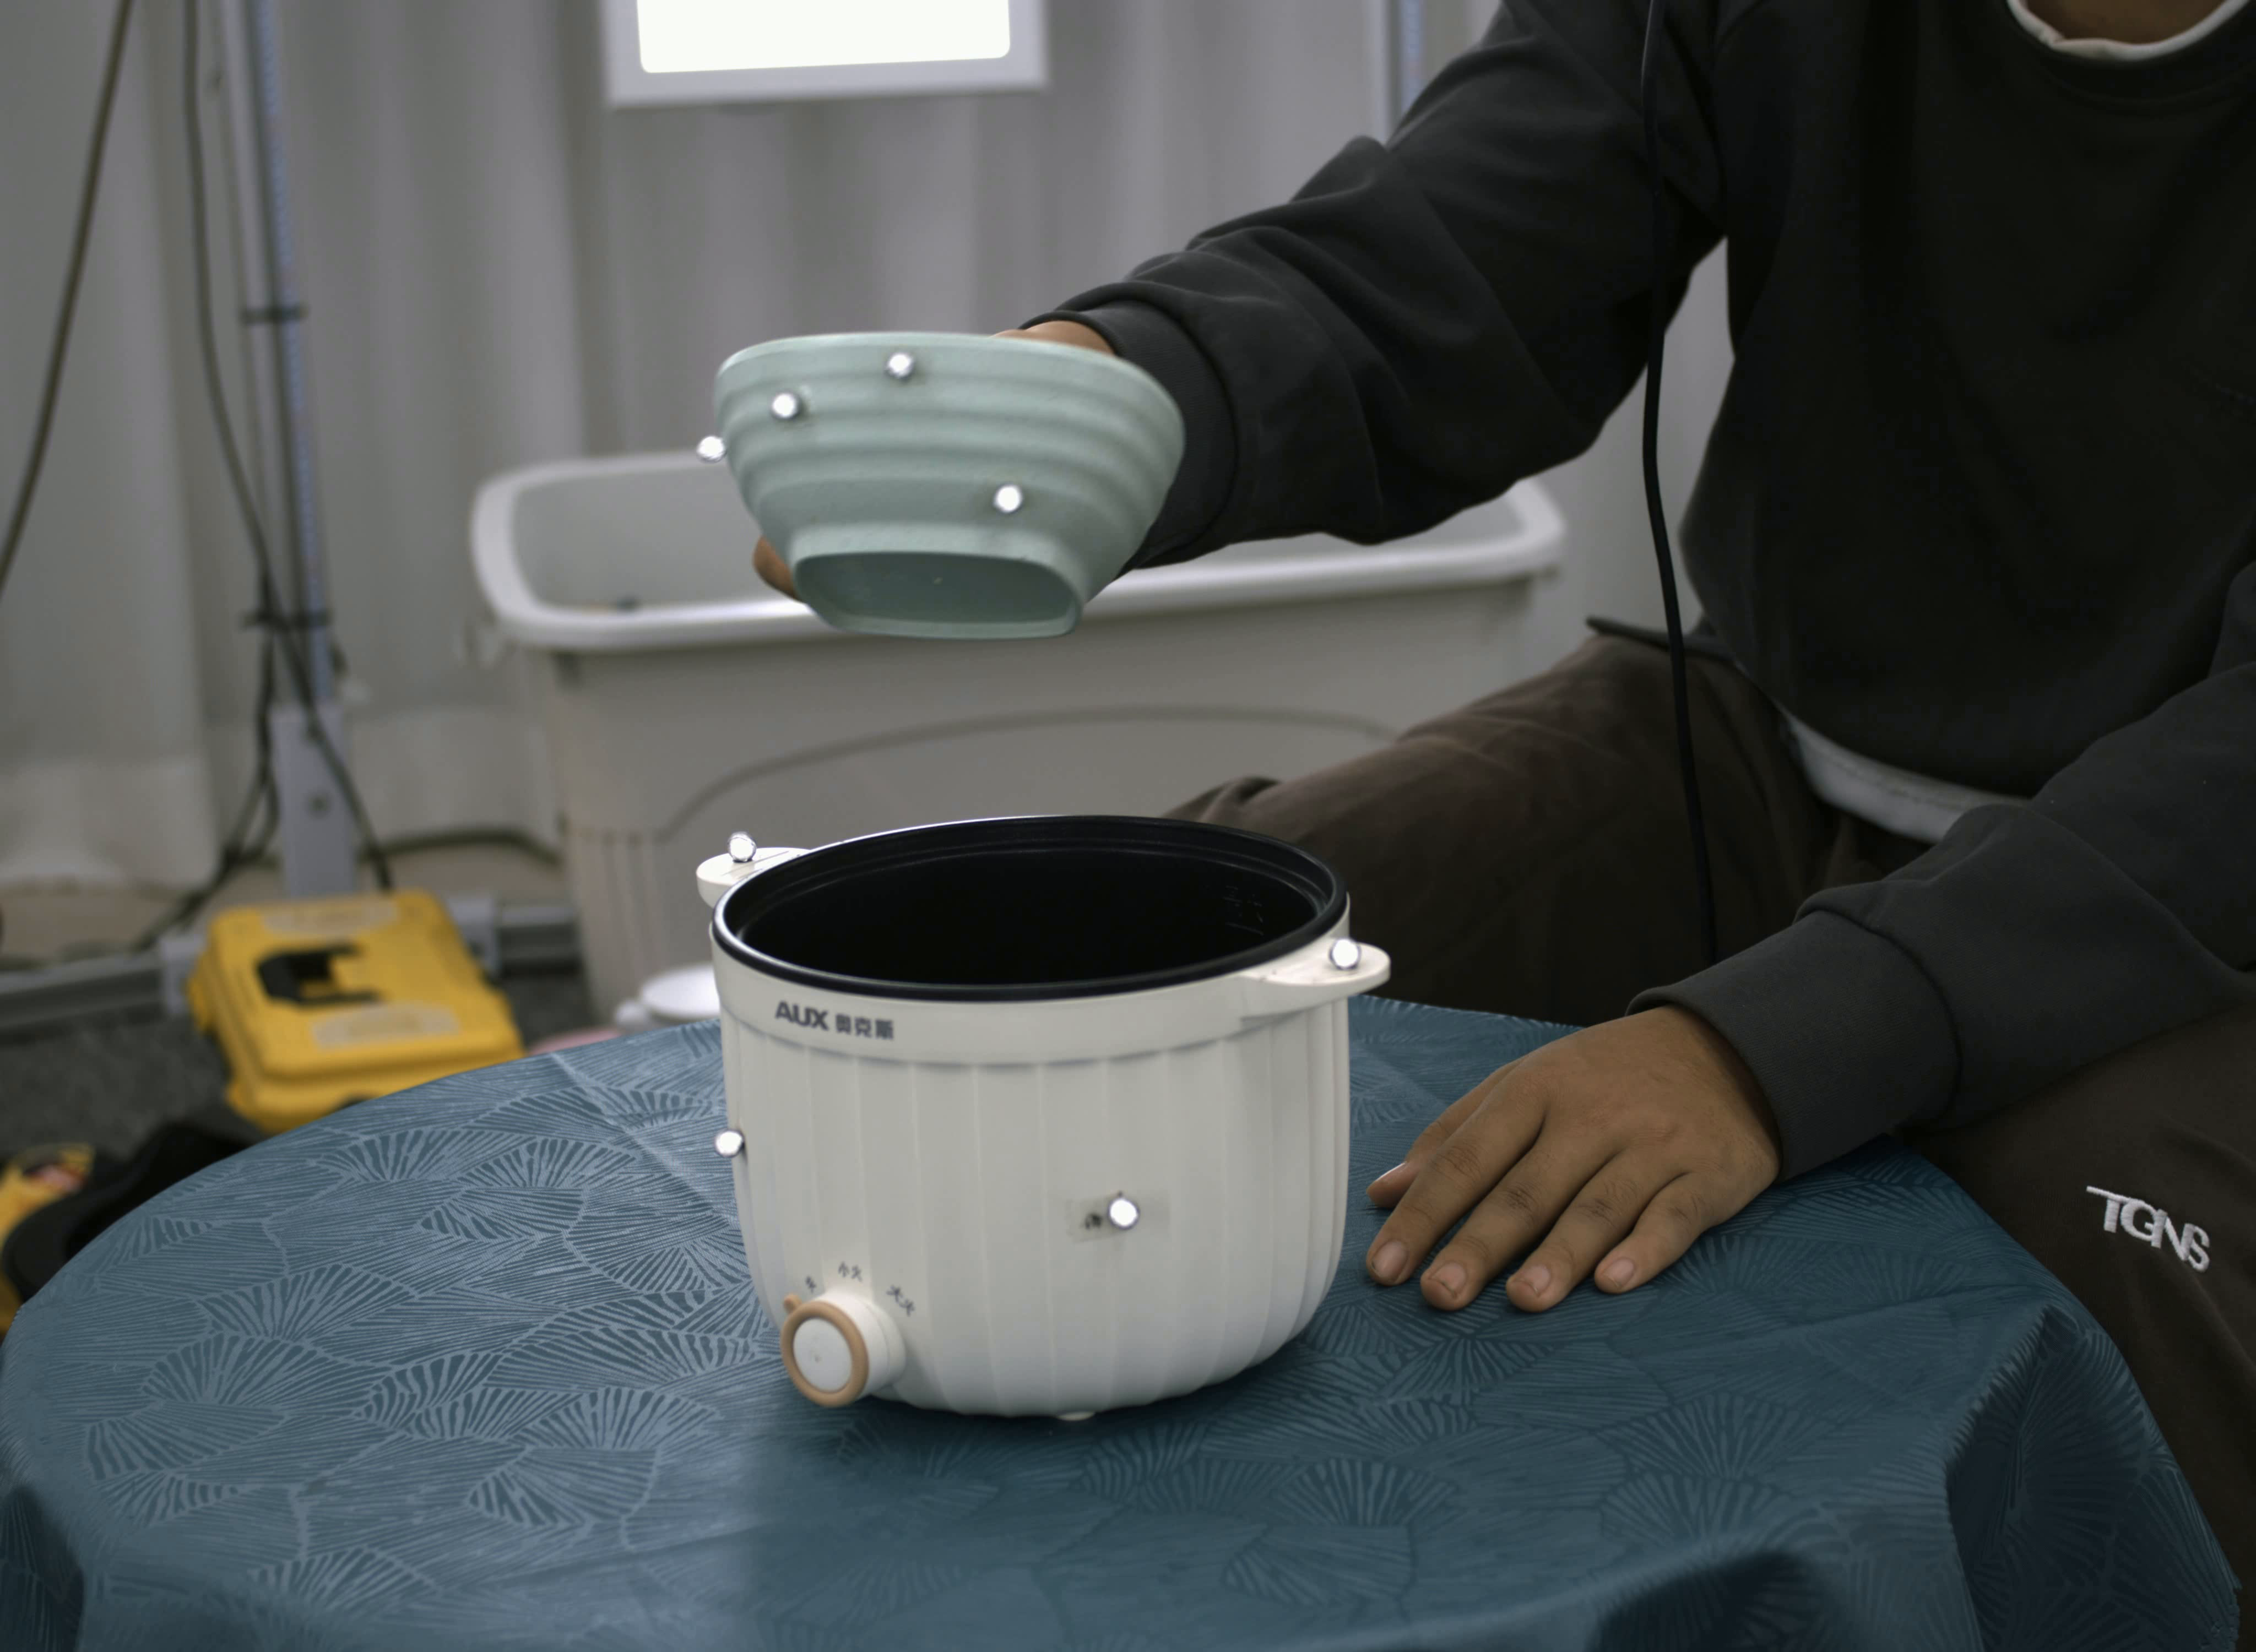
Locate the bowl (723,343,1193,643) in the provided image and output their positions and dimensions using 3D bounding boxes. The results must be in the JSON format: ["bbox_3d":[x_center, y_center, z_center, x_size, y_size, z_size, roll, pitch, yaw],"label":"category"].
[{"bbox_3d":[-0.052,-0.093,1.618,0.151,0.059,0.150,3,-15,1],"label":"bowl"}]

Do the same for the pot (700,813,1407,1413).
[{"bbox_3d":[-0.025,0.084,1.564,0.241,0.142,0.190,6,13,36],"label":"pot"}]
